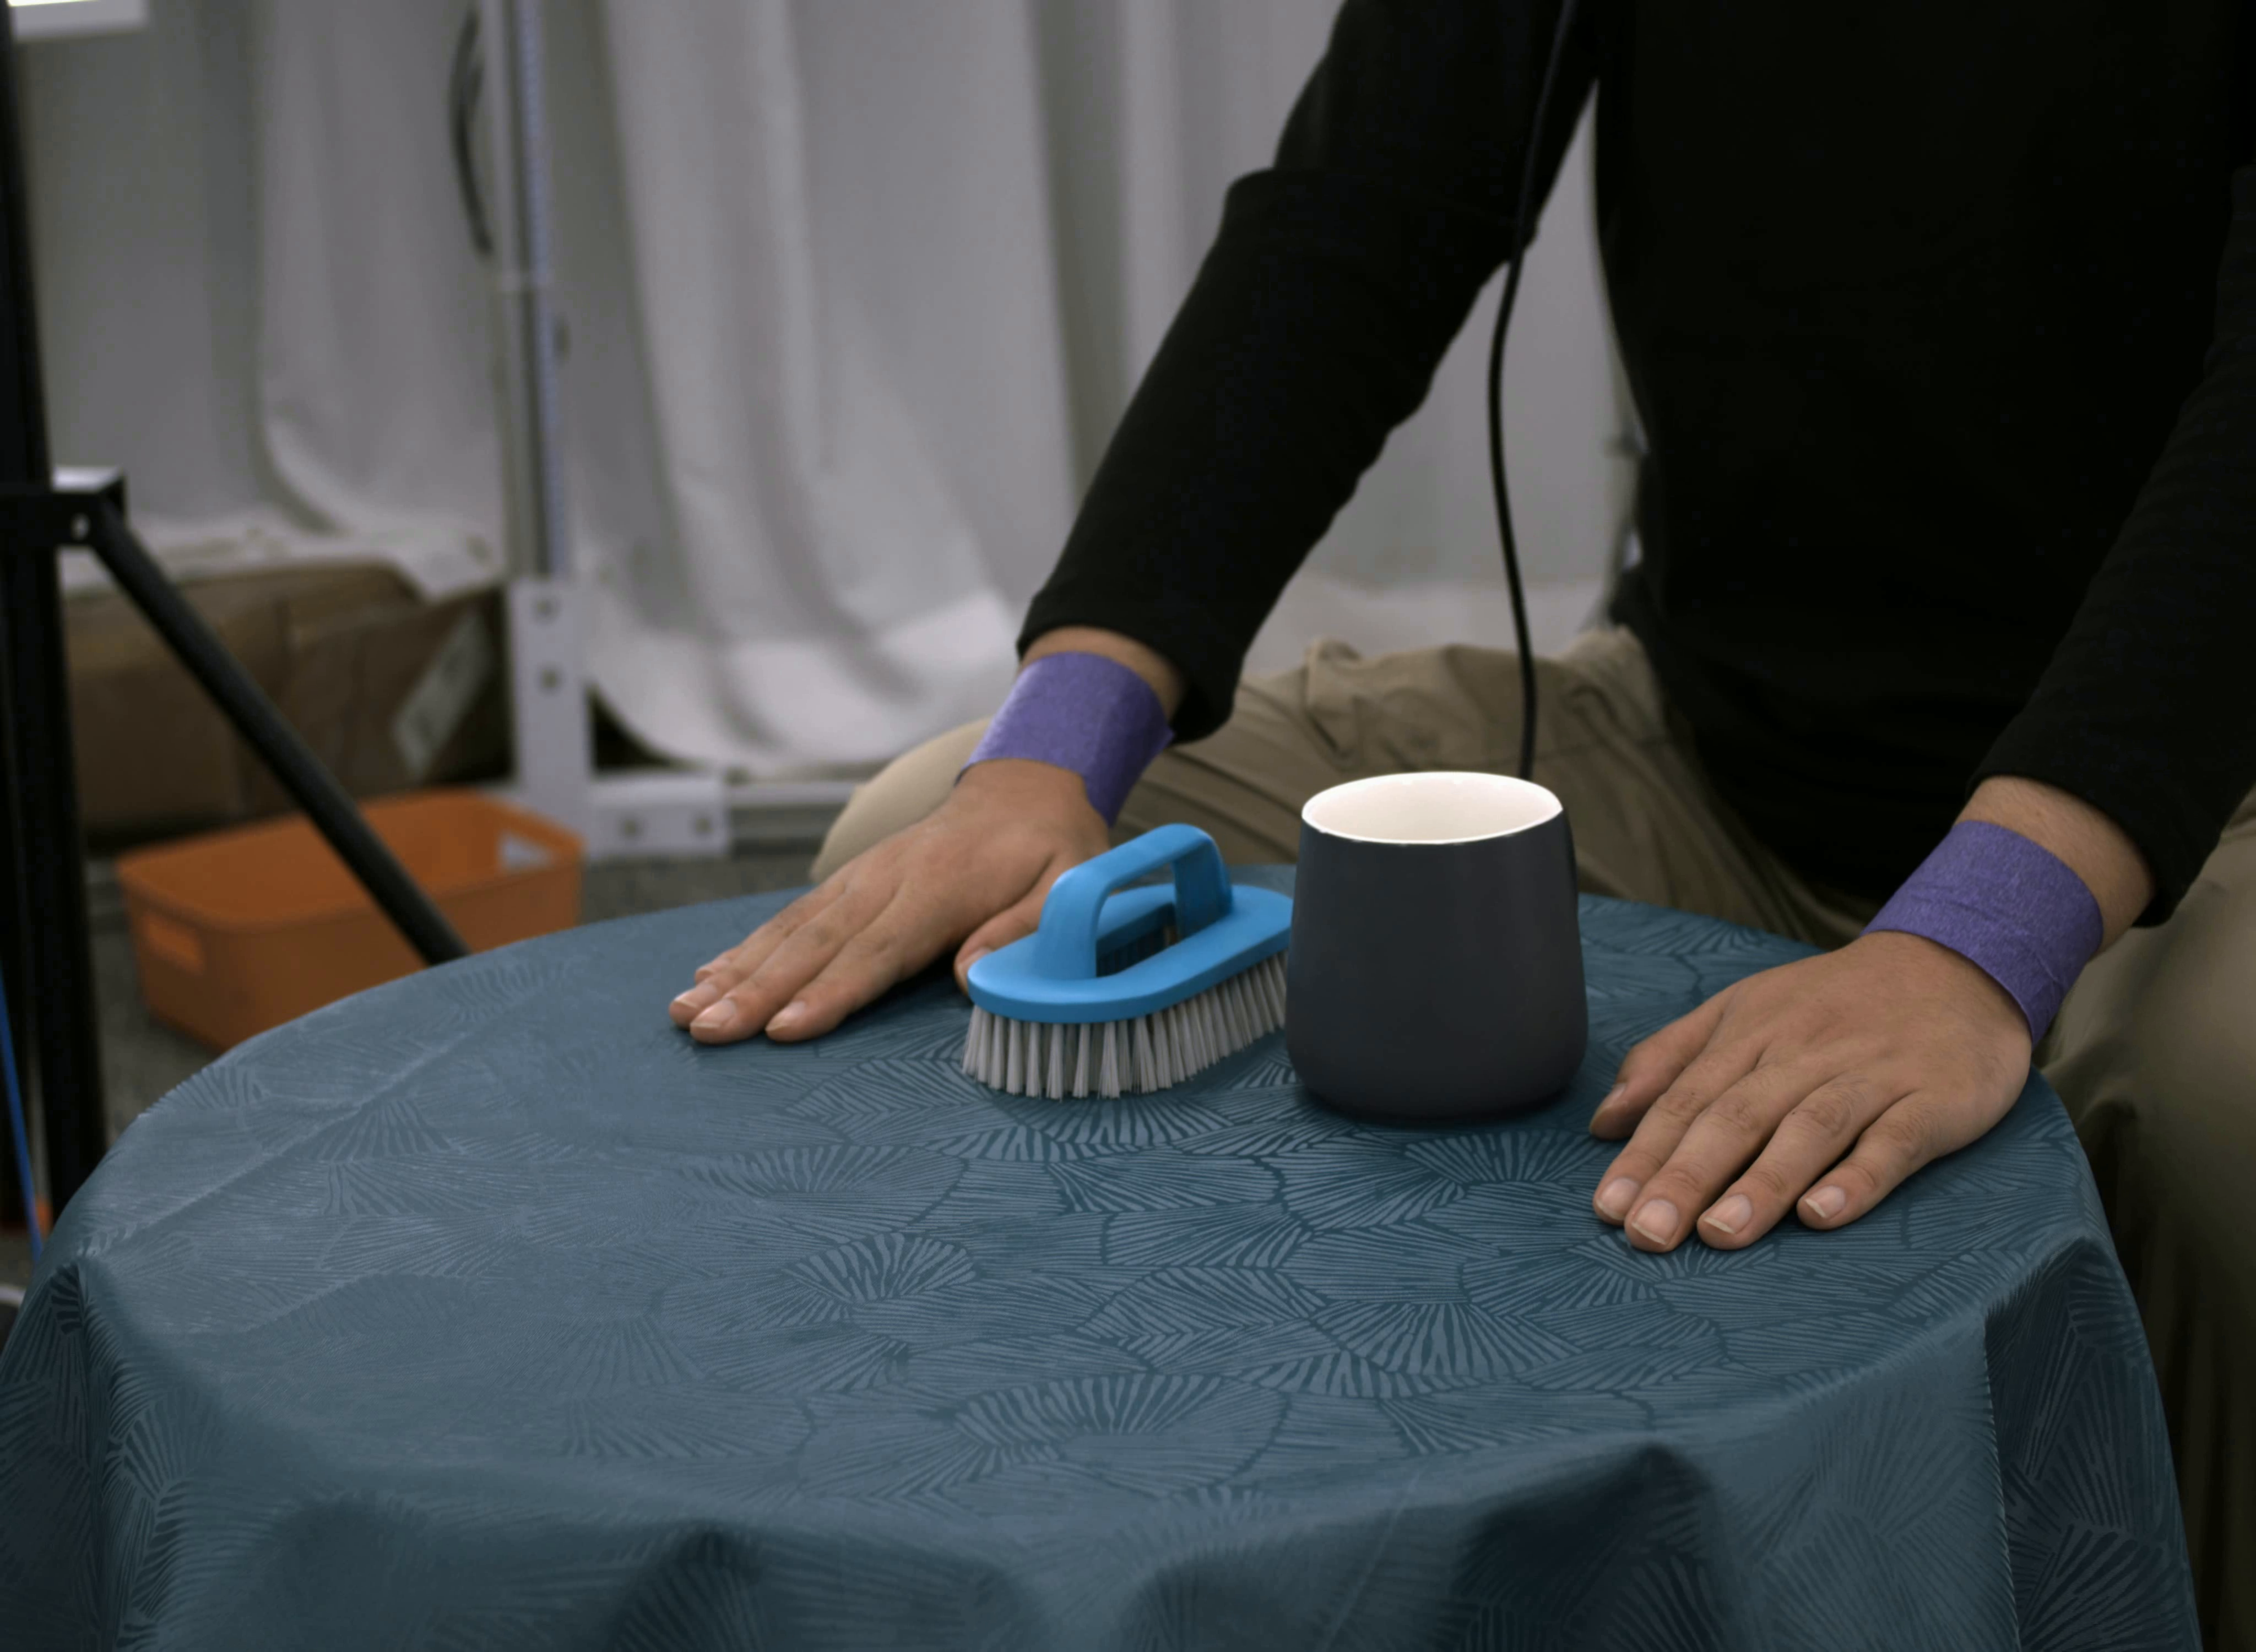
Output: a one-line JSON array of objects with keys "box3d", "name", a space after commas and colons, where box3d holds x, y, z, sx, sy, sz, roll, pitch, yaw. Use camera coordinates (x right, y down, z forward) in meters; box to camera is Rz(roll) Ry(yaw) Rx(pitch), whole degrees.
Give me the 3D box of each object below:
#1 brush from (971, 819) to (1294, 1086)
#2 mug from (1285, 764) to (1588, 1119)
[{"box3d": [0.005, 0.035, 1.694, 0.086, 0.064, 0.139, 3, 15, 35], "name": "brush"}, {"box3d": [0.103, 0.032, 1.638, 0.095, 0.090, 0.121, 11, 22, 38], "name": "mug"}]
